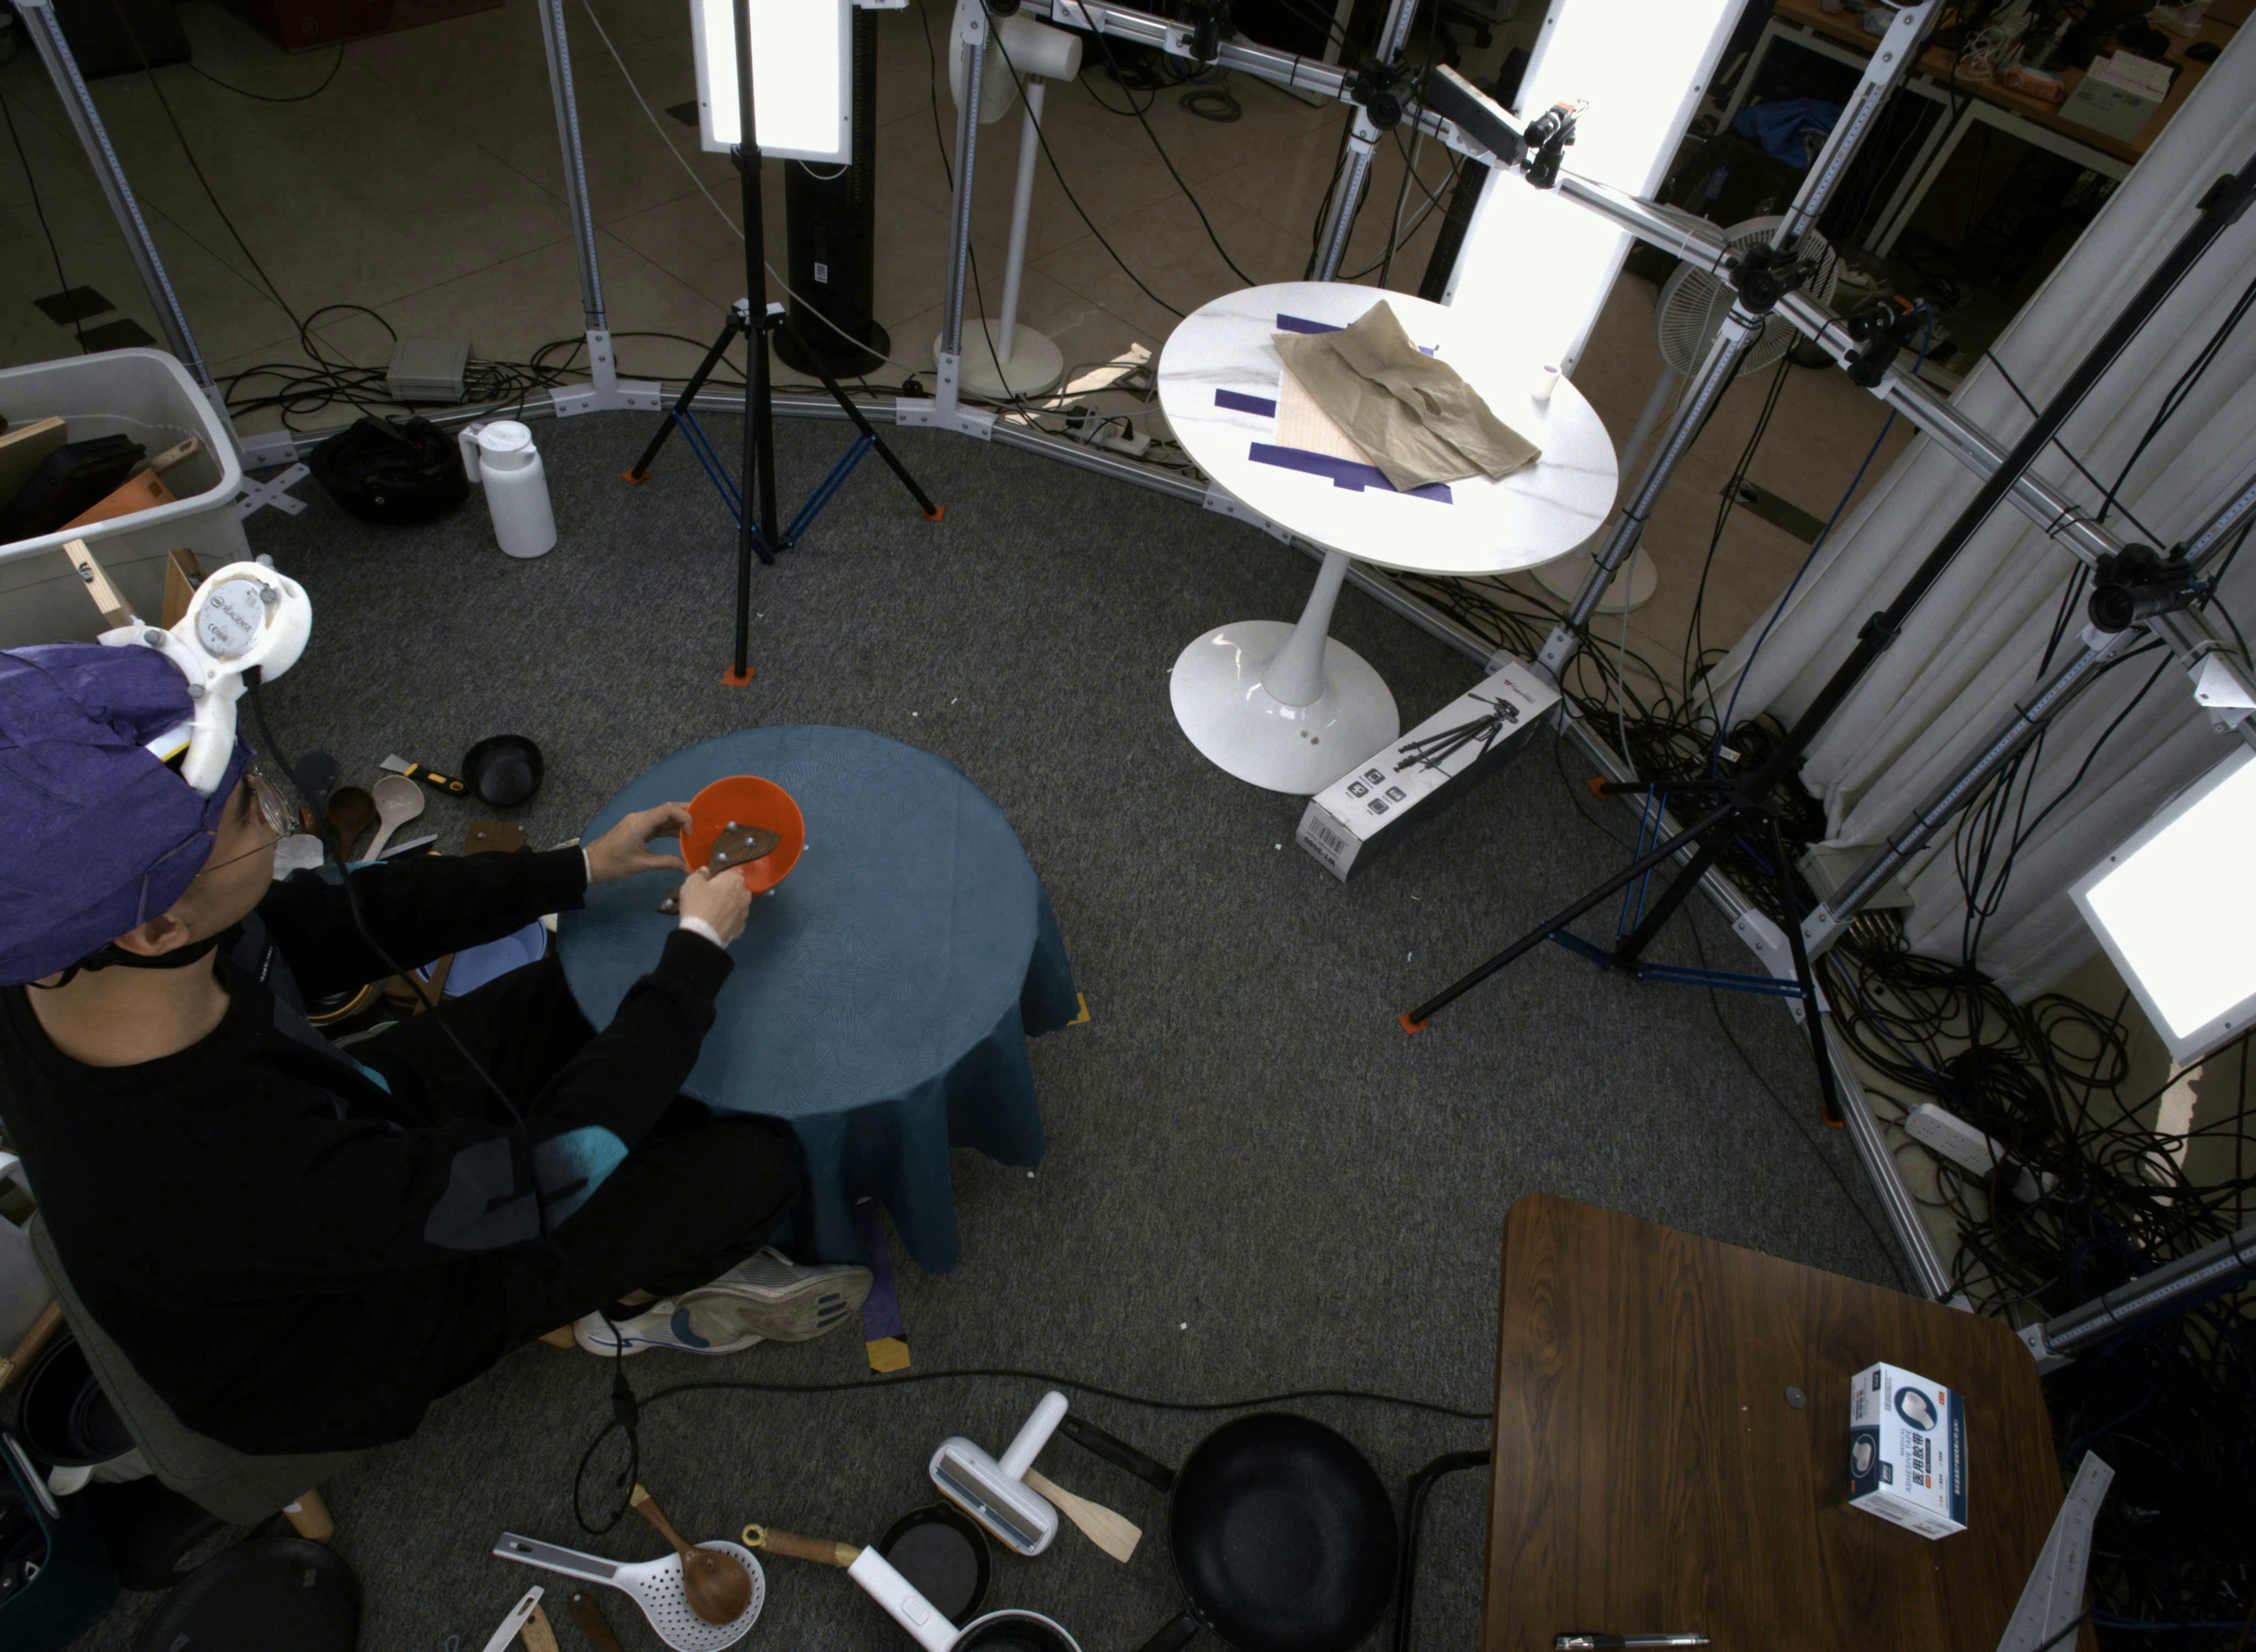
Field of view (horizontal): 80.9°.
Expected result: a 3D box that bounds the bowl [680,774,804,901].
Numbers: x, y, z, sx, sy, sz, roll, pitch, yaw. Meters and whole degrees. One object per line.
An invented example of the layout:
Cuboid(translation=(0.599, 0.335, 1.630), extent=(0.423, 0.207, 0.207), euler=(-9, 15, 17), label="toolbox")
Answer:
Cuboid(translation=(-0.475, 0.025, 1.603), extent=(0.148, 0.105, 0.146), euler=(6, 65, -12), label="bowl")

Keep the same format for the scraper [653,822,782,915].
Cuboid(translation=(-0.475, 0.046, 1.473), extent=(0.074, 0.011, 0.210), euler=(14, 28, 10), label="scraper")
